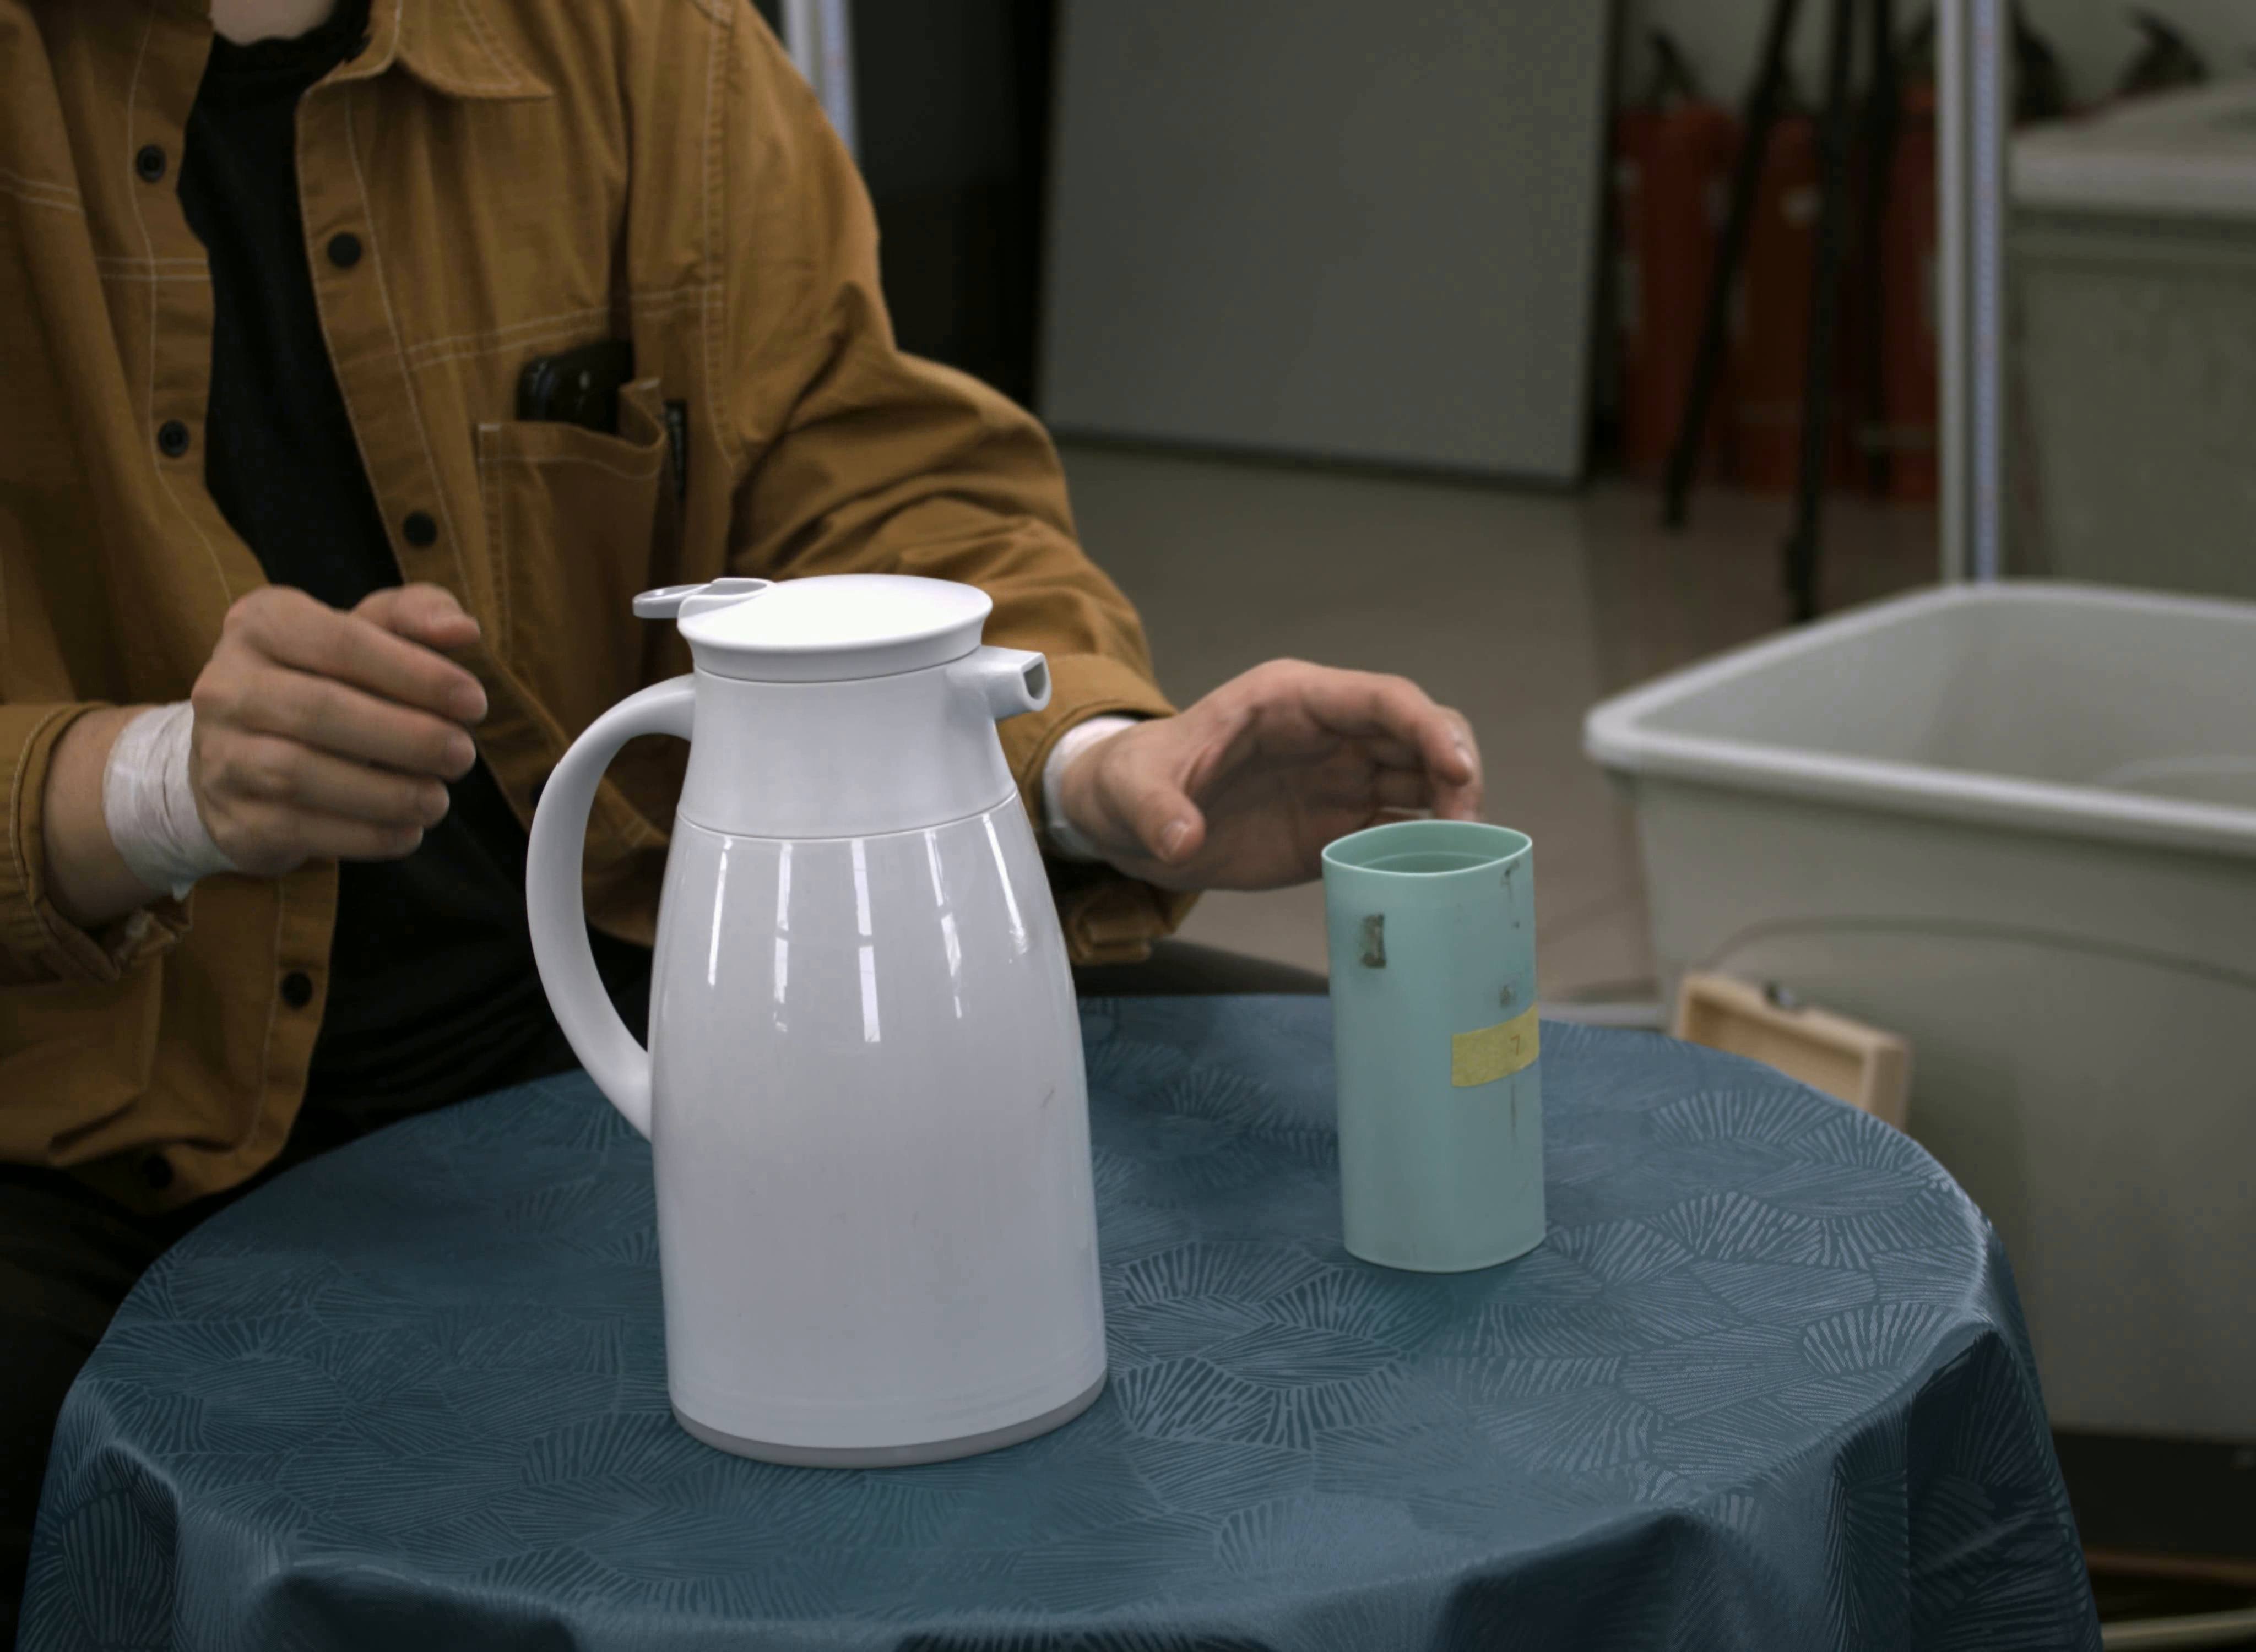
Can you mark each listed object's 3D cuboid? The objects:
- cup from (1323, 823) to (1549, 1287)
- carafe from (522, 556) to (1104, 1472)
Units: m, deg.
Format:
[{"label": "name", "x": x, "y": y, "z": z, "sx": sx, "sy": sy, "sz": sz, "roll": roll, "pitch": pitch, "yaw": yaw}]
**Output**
[{"label": "cup", "x": 0.096, "y": 0.071, "z": 1.688, "sx": 0.066, "sy": 0.134, "sz": 0.067, "roll": -4, "pitch": 13, "yaw": 0}, {"label": "carafe", "x": -0.097, "y": 0.048, "z": 1.581, "sx": 0.167, "sy": 0.251, "sz": 0.131, "roll": 1, "pitch": 14, "yaw": 21}]
